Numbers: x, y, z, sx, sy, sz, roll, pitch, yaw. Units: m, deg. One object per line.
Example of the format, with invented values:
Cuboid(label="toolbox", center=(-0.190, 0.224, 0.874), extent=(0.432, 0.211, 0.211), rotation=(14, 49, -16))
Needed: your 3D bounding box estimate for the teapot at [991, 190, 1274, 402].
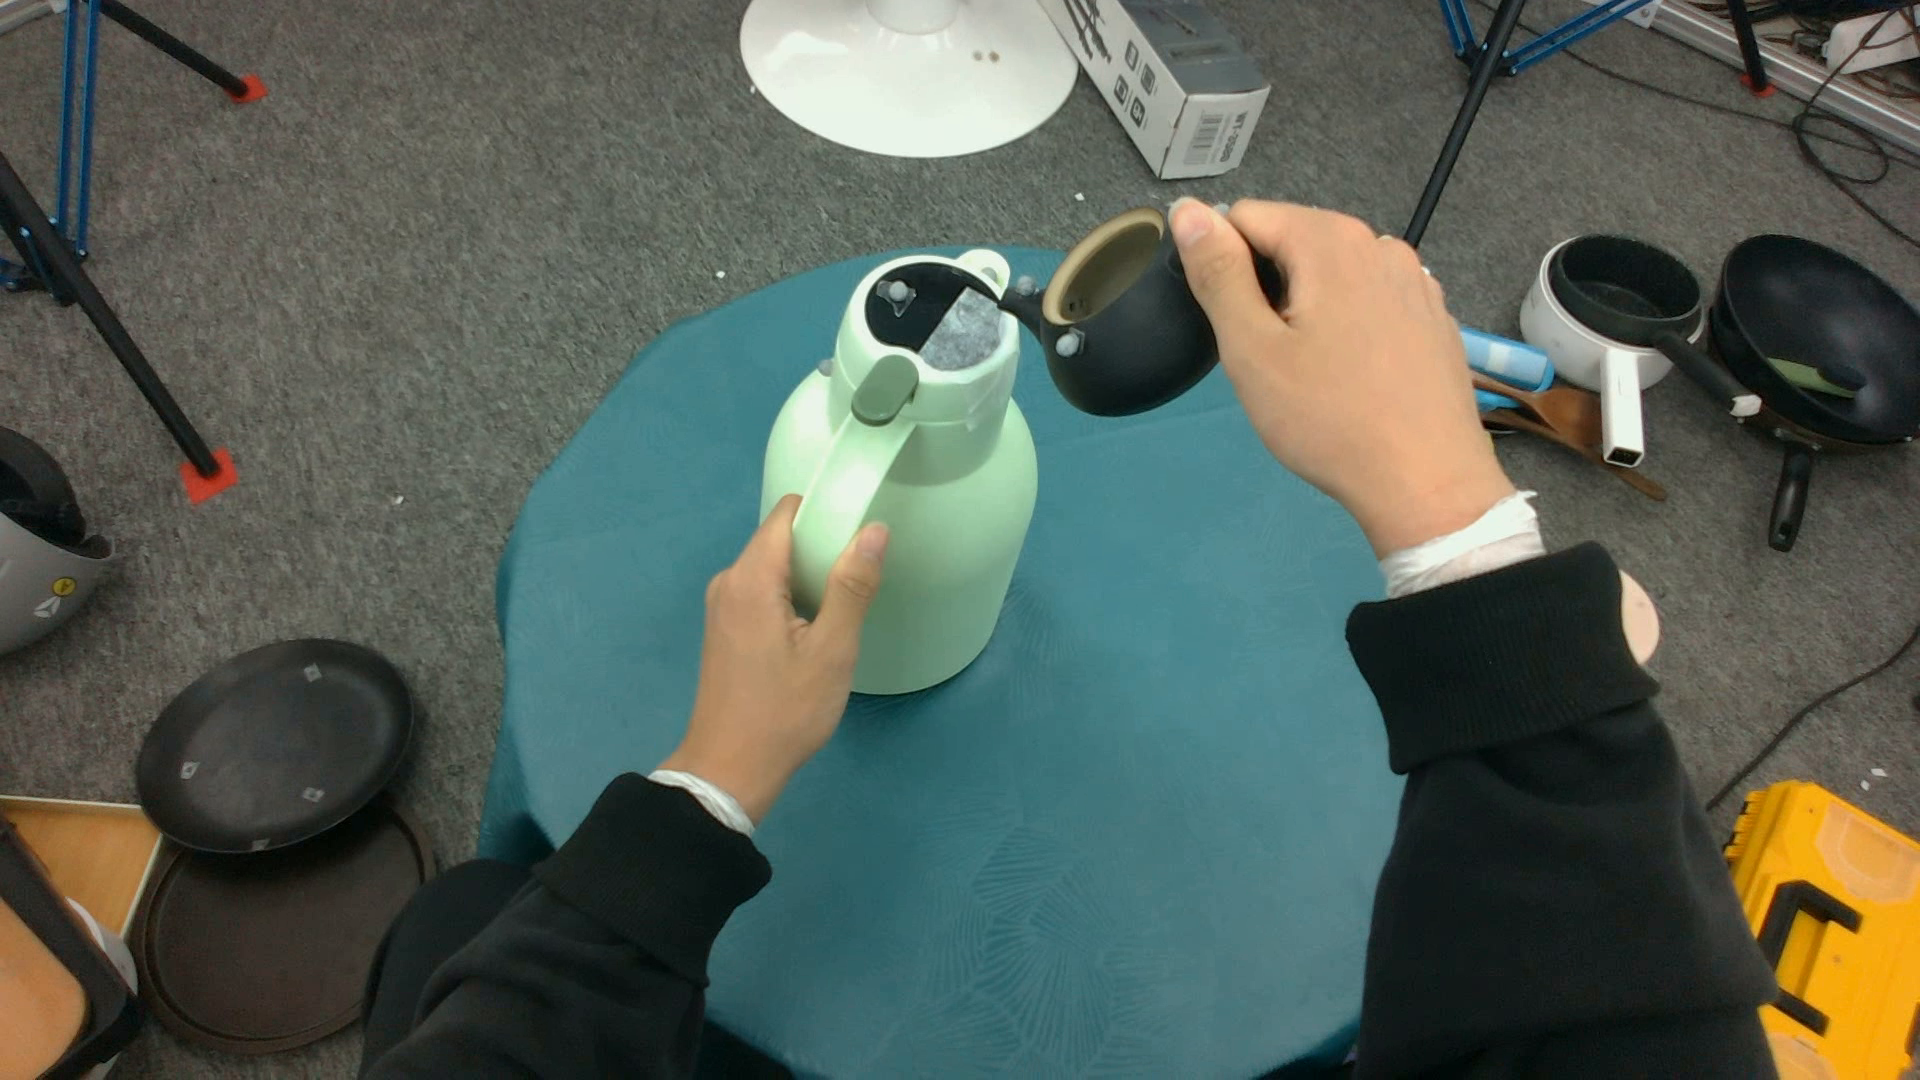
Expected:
Cuboid(label="teapot", center=(0.069, -0.095, 0.534), extent=(0.053, 0.133, 0.091), rotation=(38, 66, -28))

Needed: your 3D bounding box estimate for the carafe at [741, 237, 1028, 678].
Cuboid(label="carafe", center=(-0.041, -0.029, 0.702), extent=(0.144, 0.255, 0.187), rotation=(26, 61, 4))
